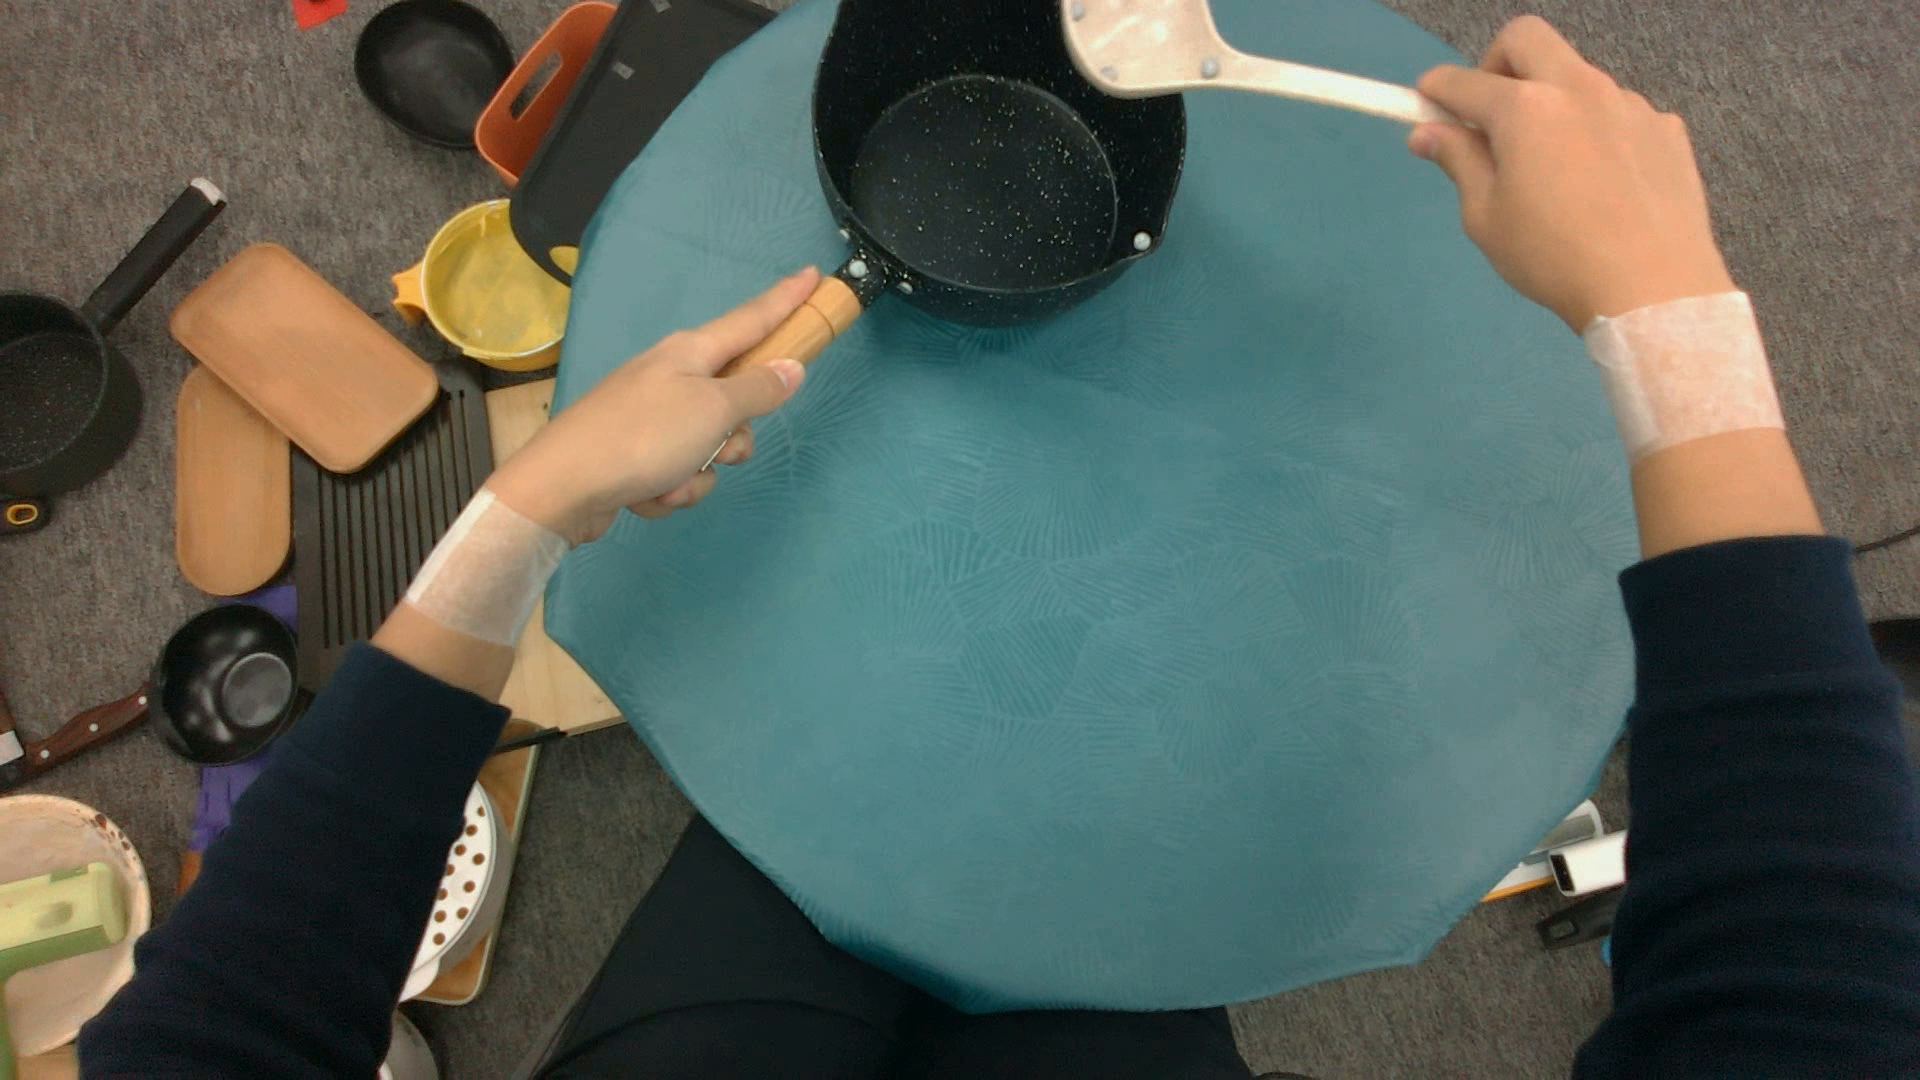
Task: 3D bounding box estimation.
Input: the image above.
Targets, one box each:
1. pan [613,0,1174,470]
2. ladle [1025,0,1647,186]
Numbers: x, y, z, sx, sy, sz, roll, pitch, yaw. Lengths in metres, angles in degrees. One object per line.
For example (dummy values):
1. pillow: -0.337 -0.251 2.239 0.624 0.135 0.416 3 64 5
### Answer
1. pan: -0.038 -0.148 0.681 0.207 0.108 0.344 39 74 3
2. ladle: 0.153 -0.210 0.584 0.274 0.069 0.090 22 58 27
